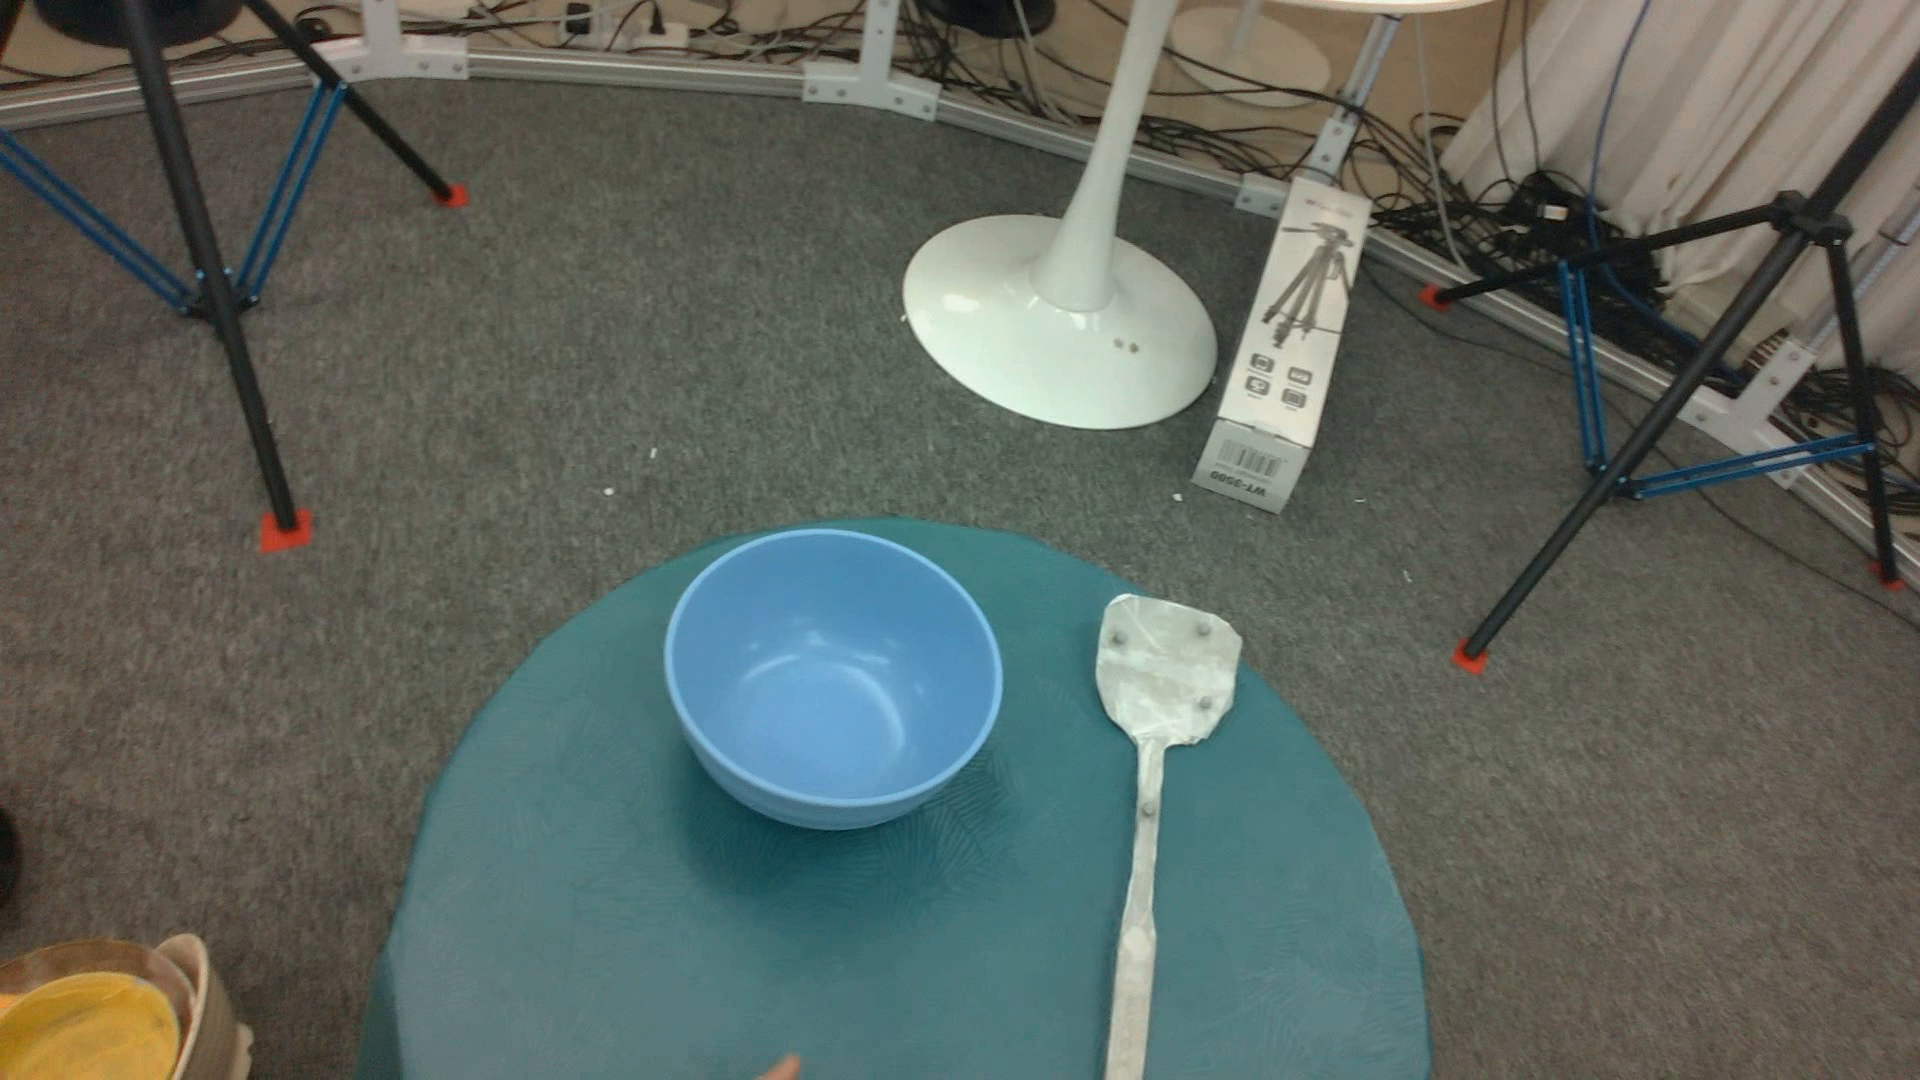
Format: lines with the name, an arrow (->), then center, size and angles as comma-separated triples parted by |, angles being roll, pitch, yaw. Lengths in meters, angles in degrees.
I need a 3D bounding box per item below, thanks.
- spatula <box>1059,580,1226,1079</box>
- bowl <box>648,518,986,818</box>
spatula -> 0.102, 0.176, 0.846 | 0.099, 0.044, 0.367 | 18, 47, -3
bowl -> -0.090, 0.090, 0.827 | 0.196, 0.095, 0.197 | 9, 46, -9
